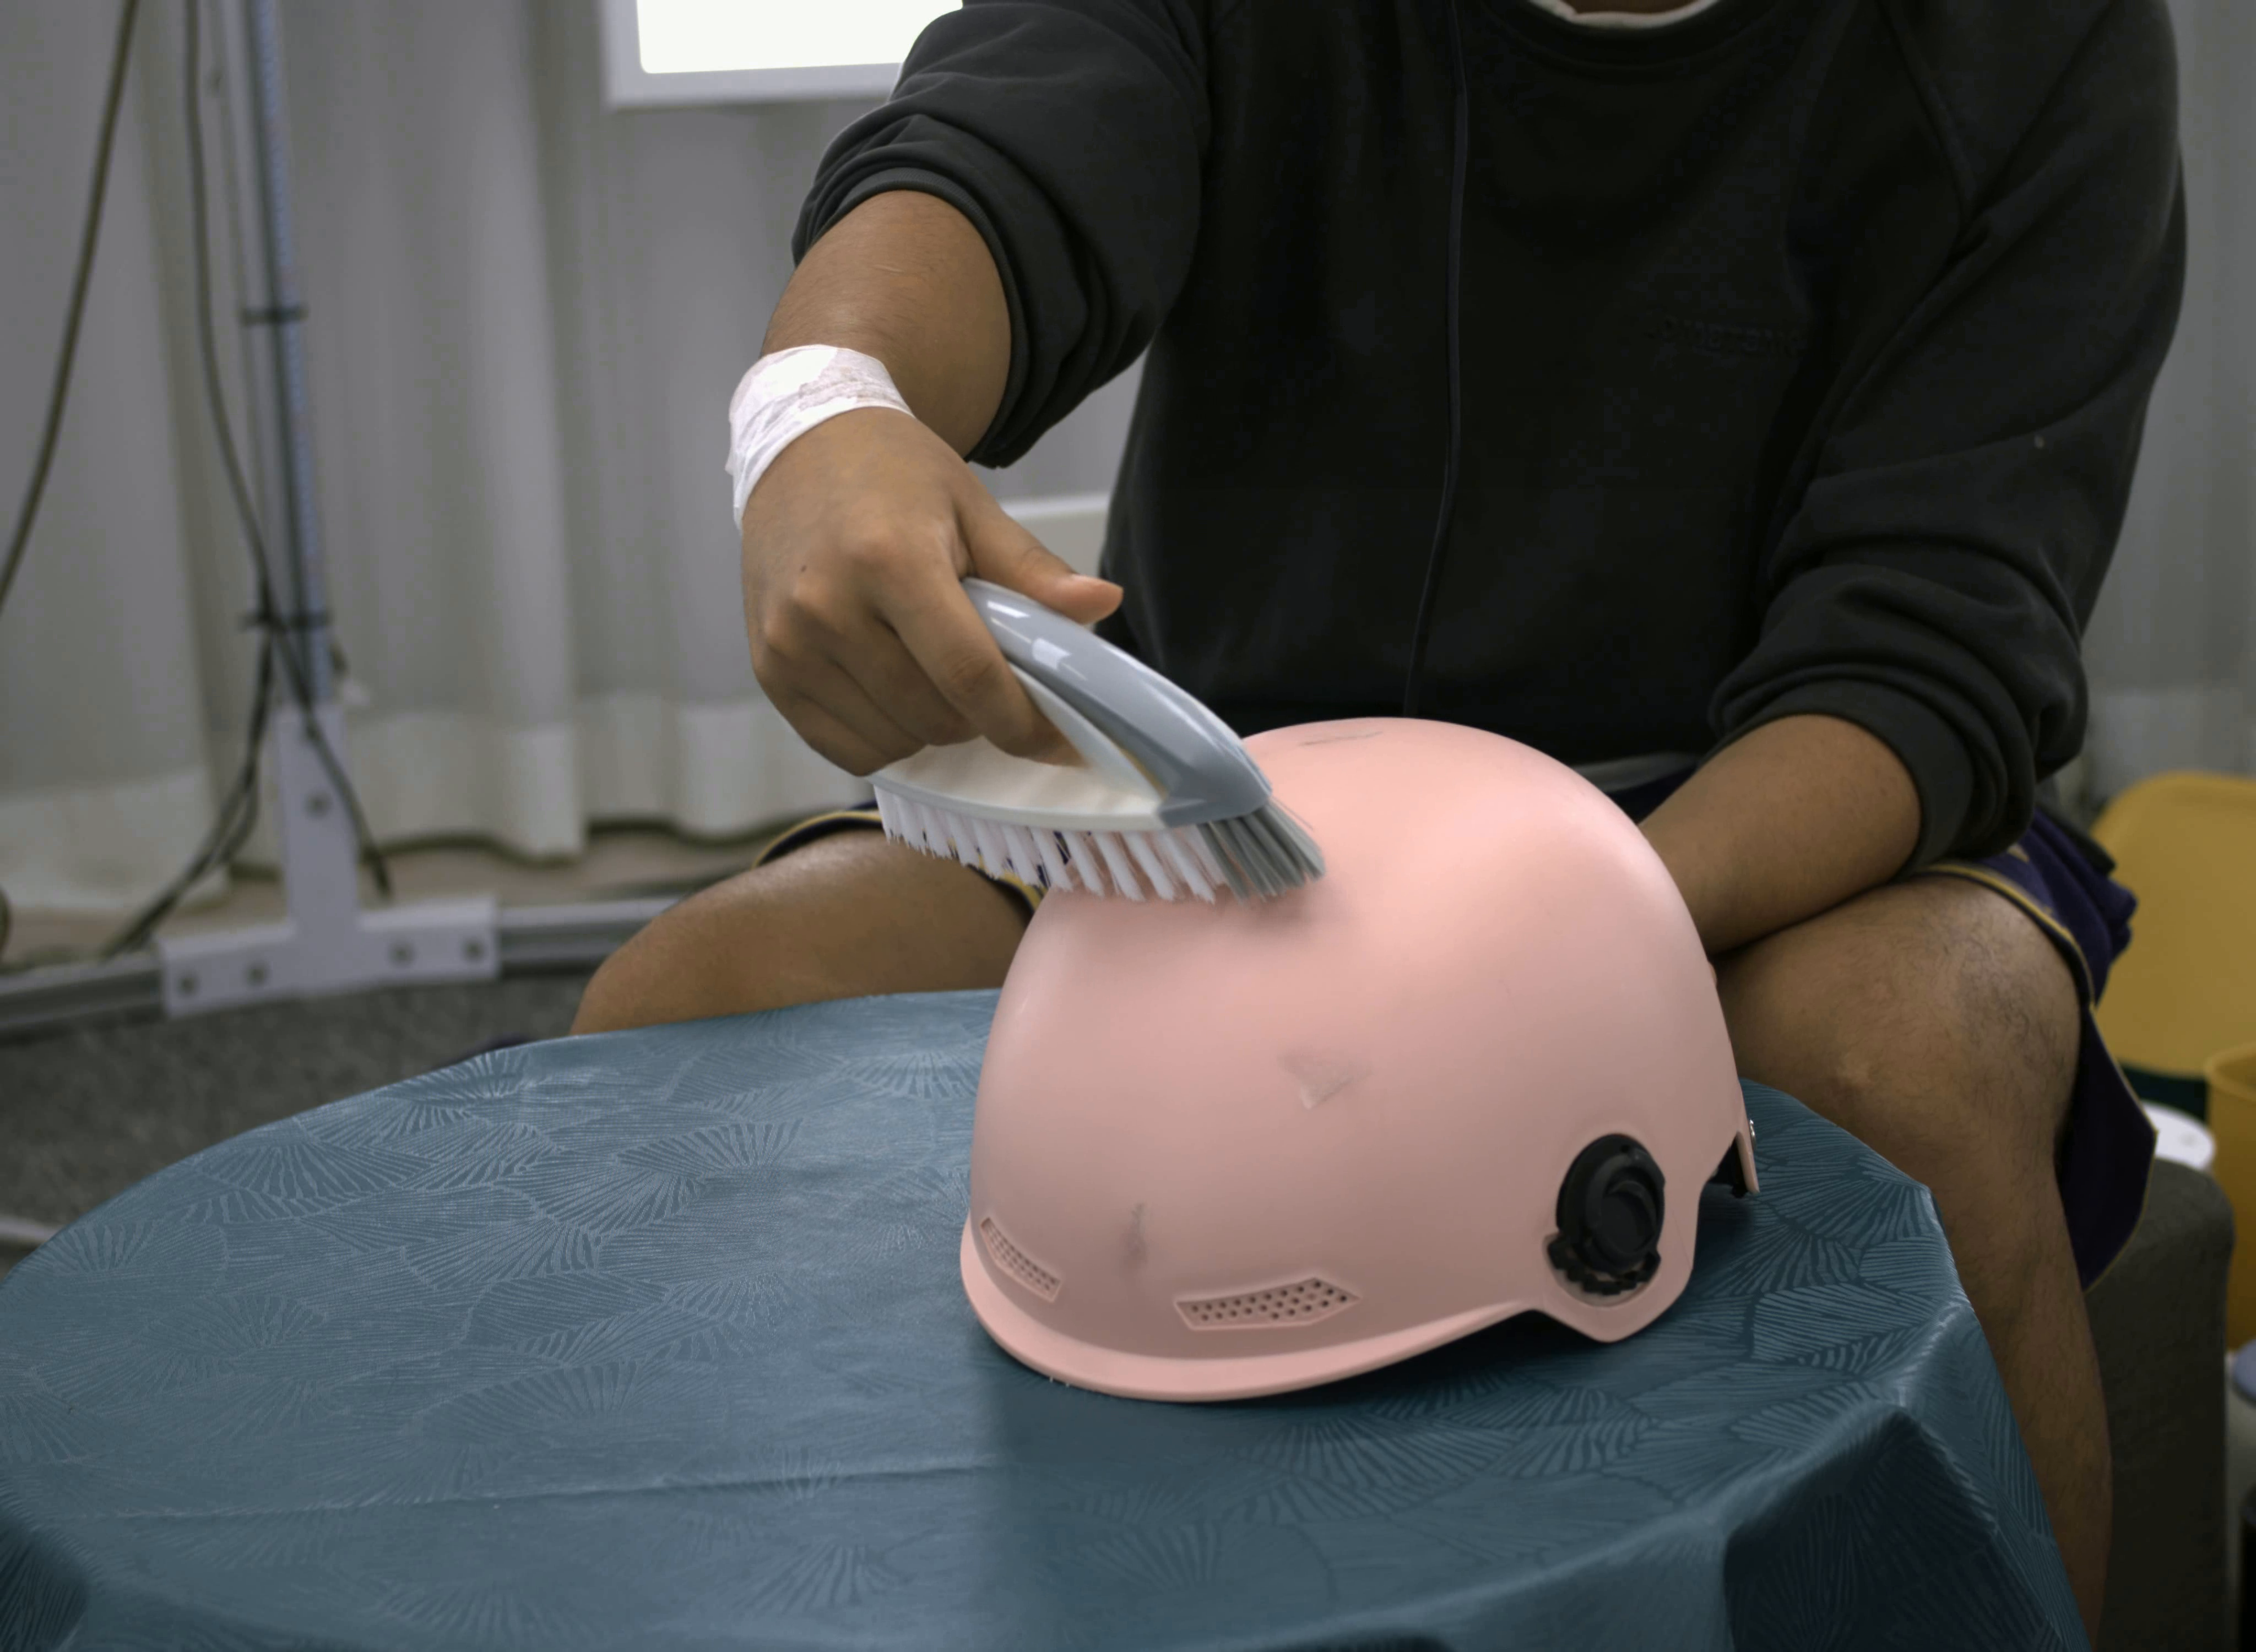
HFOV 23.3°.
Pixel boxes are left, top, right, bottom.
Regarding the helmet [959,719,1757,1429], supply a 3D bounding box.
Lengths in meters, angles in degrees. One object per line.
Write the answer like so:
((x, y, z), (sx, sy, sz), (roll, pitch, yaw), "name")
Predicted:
((0.061, 0.058, 1.623), (0.235, 0.158, 0.267), (8, 25, 34), "helmet")

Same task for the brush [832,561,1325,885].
((-0.020, -0.034, 1.582), (0.177, 0.093, 0.062), (18, 59, 47), "brush")
